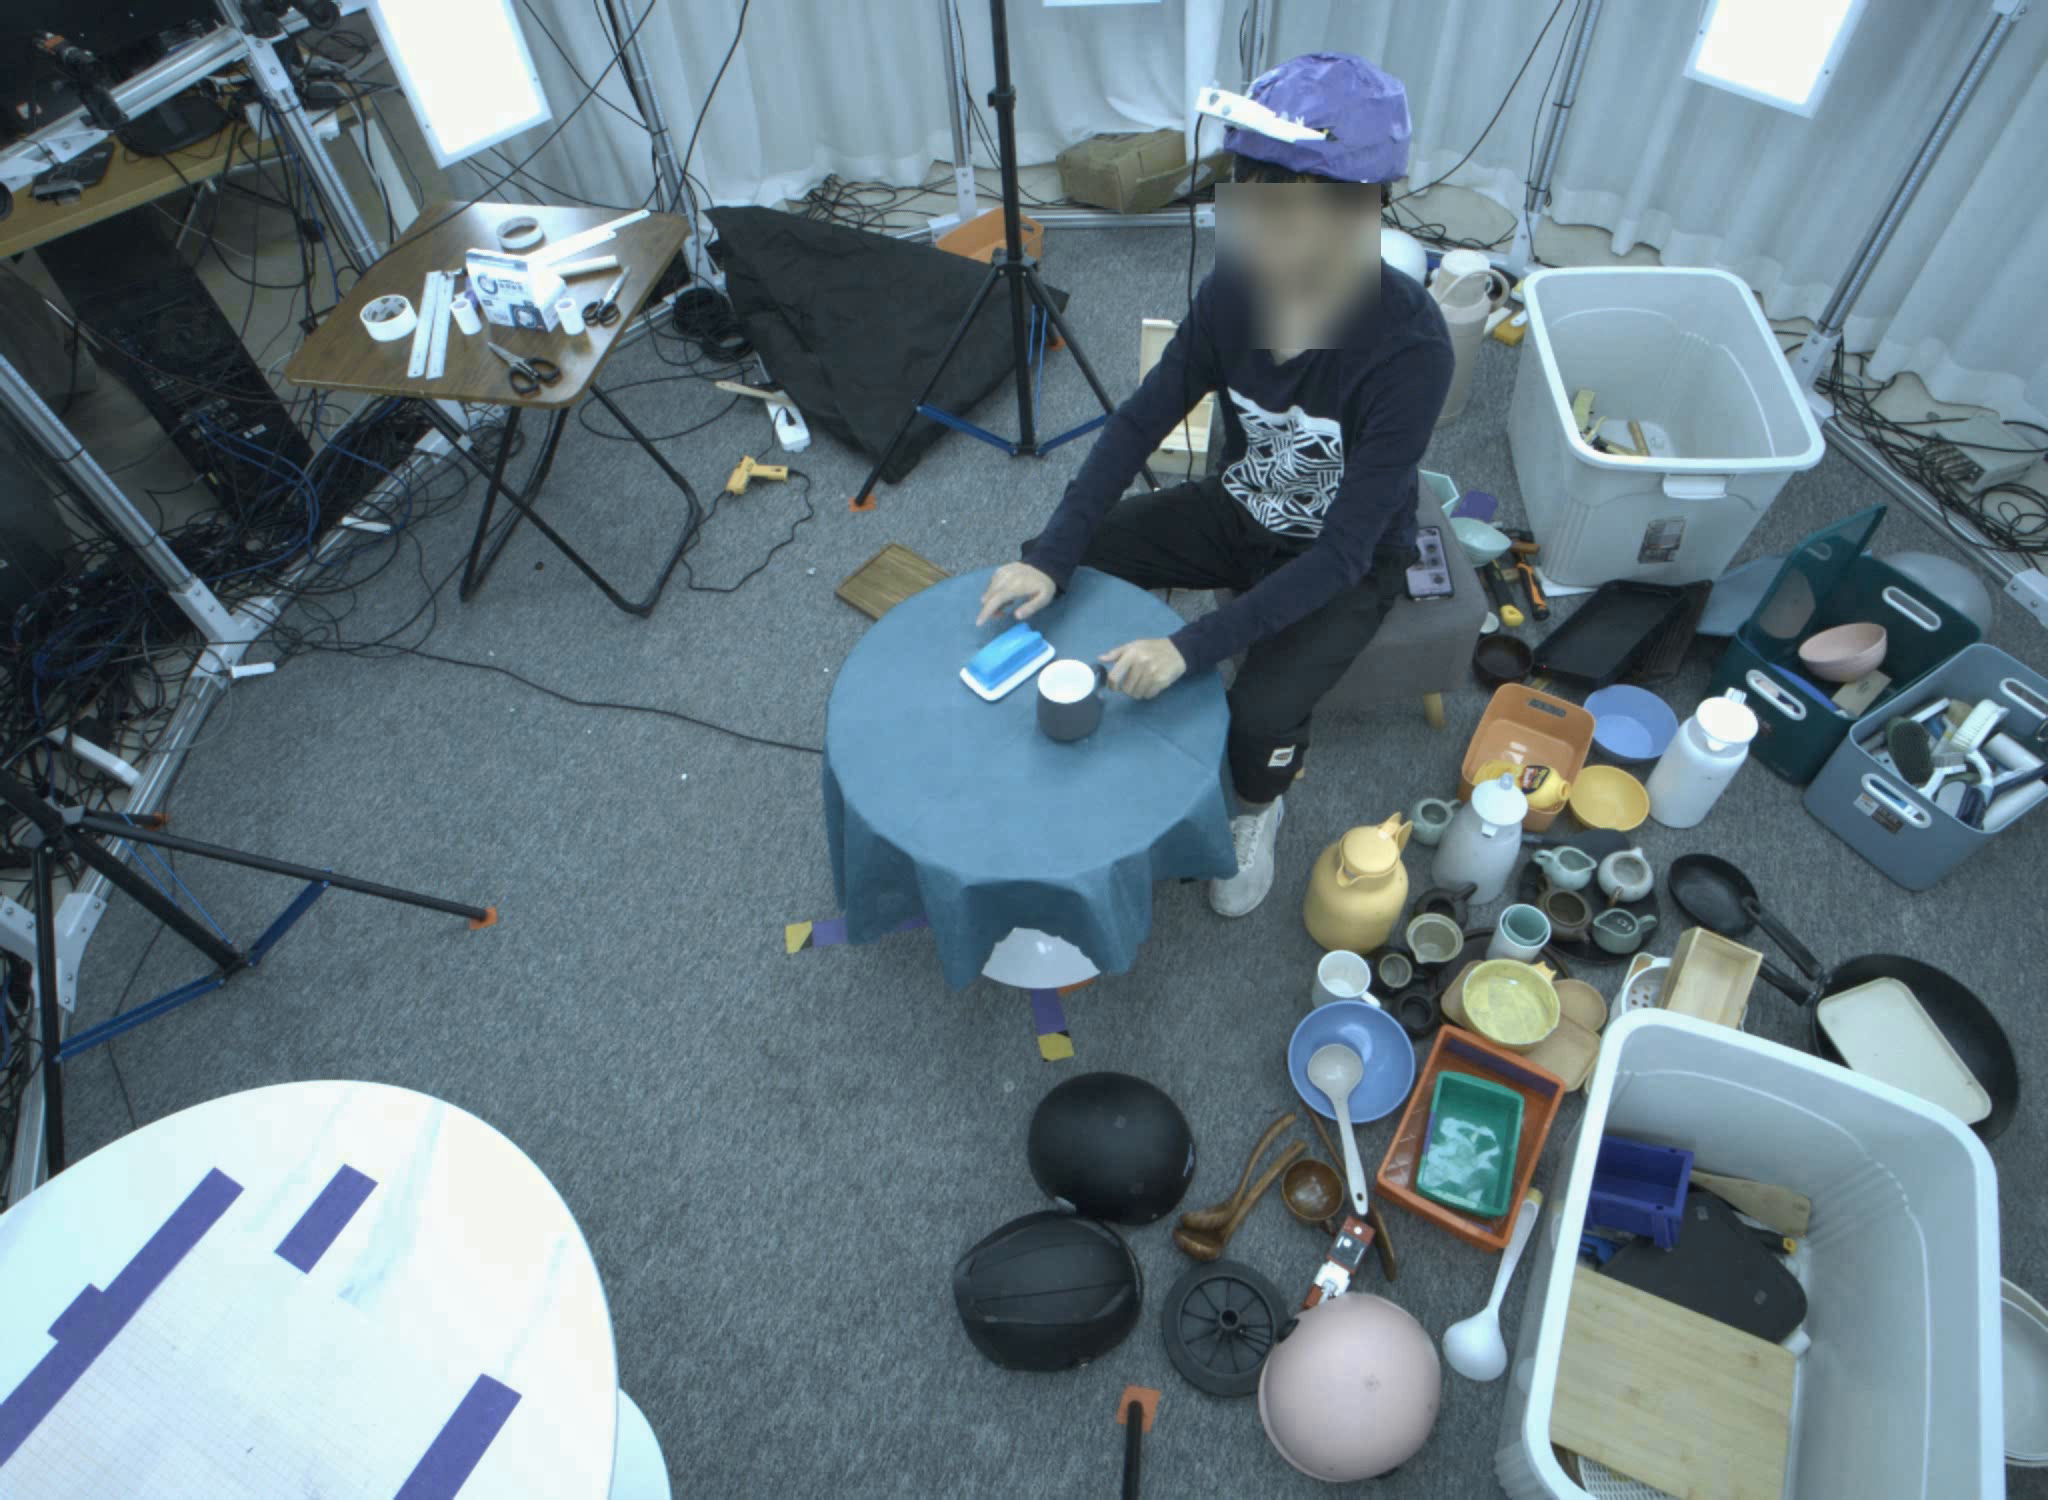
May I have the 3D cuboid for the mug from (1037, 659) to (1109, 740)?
[{"bbox_3d":[0.075,-0.081,1.776,0.124,0.091,0.092,-38,63,-19],"label":"mug"}]

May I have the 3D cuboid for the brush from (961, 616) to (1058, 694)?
[{"bbox_3d":[-0.023,-0.151,1.851,0.145,0.056,0.082,-37,64,-19],"label":"brush"}]
